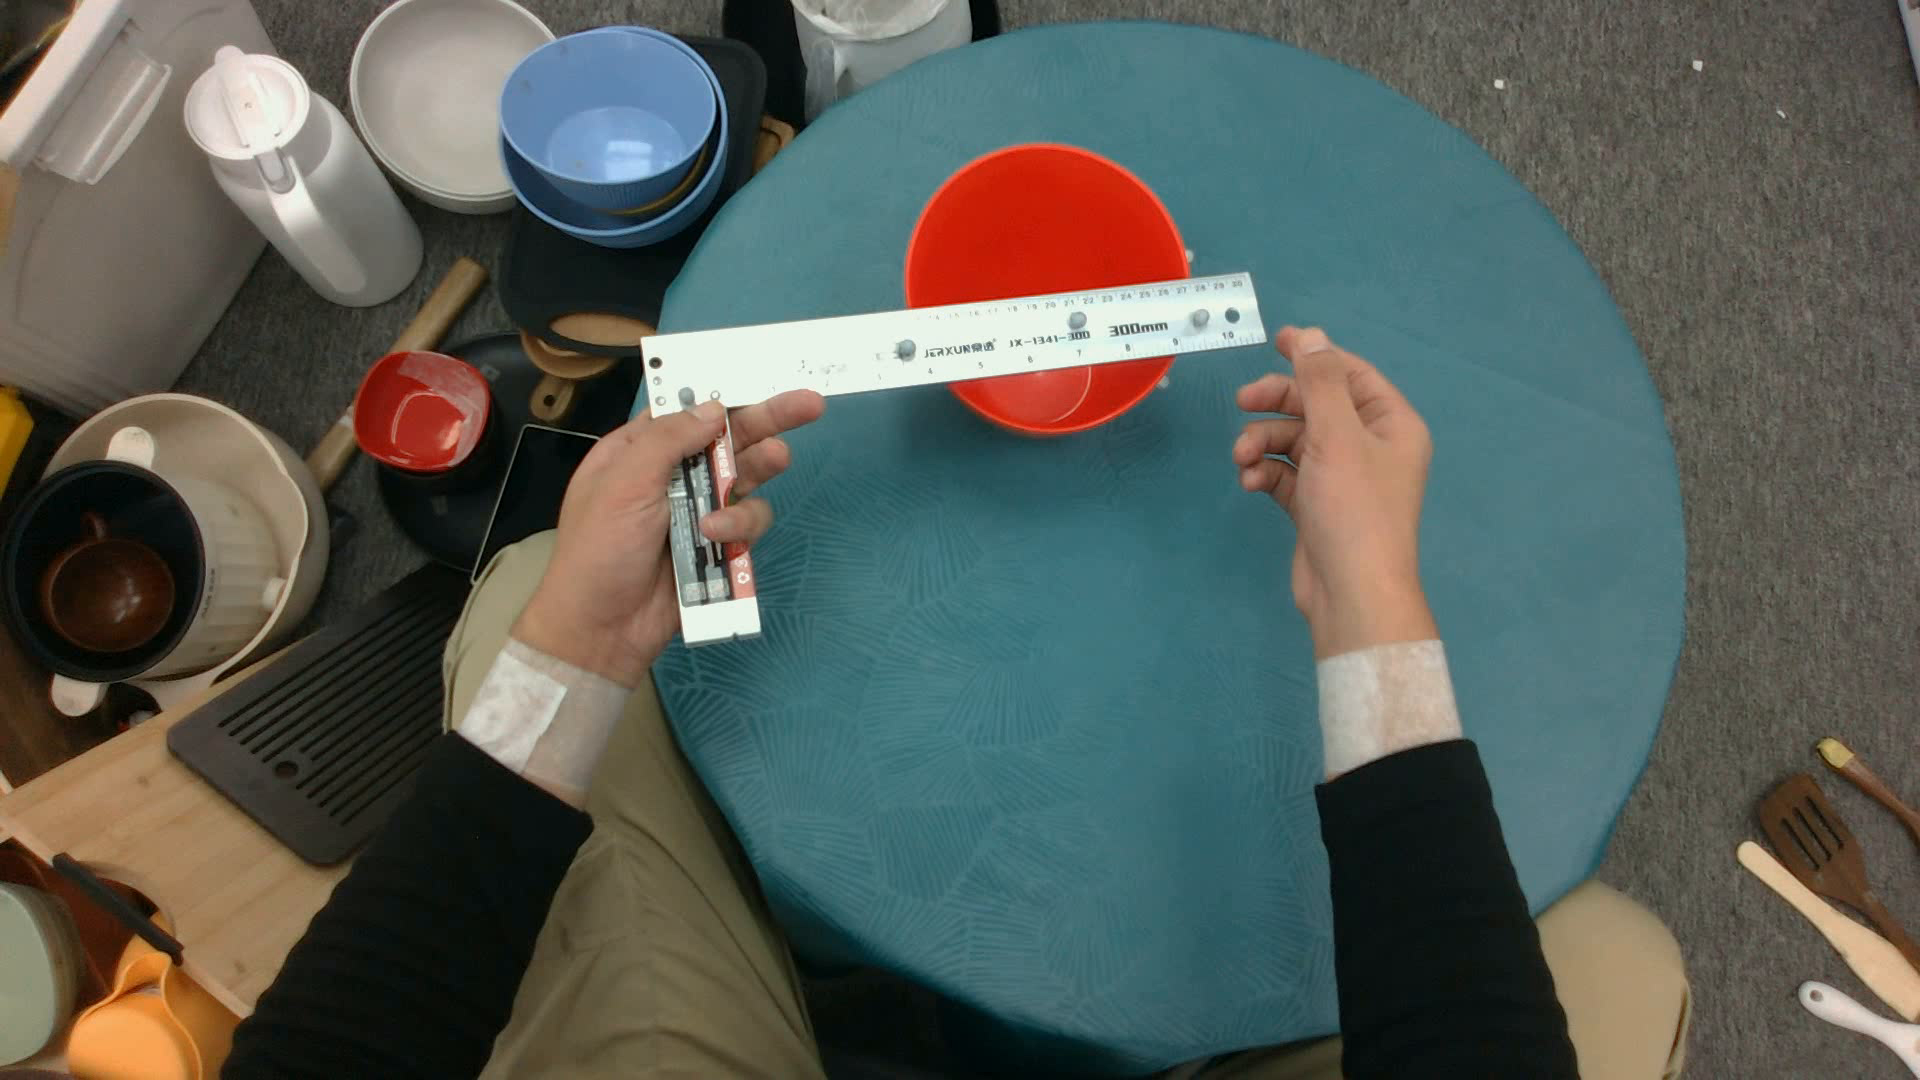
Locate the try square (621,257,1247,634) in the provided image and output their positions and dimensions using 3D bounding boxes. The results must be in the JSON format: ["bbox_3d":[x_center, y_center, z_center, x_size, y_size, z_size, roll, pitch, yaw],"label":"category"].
[{"bbox_3d":[0.003,-0.053,0.664,0.313,0.016,0.152,-8,76,-12],"label":"try square"}]

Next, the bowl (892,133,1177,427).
[{"bbox_3d":[0.035,-0.125,0.739,0.148,0.104,0.148,2,75,-6],"label":"bowl"}]
